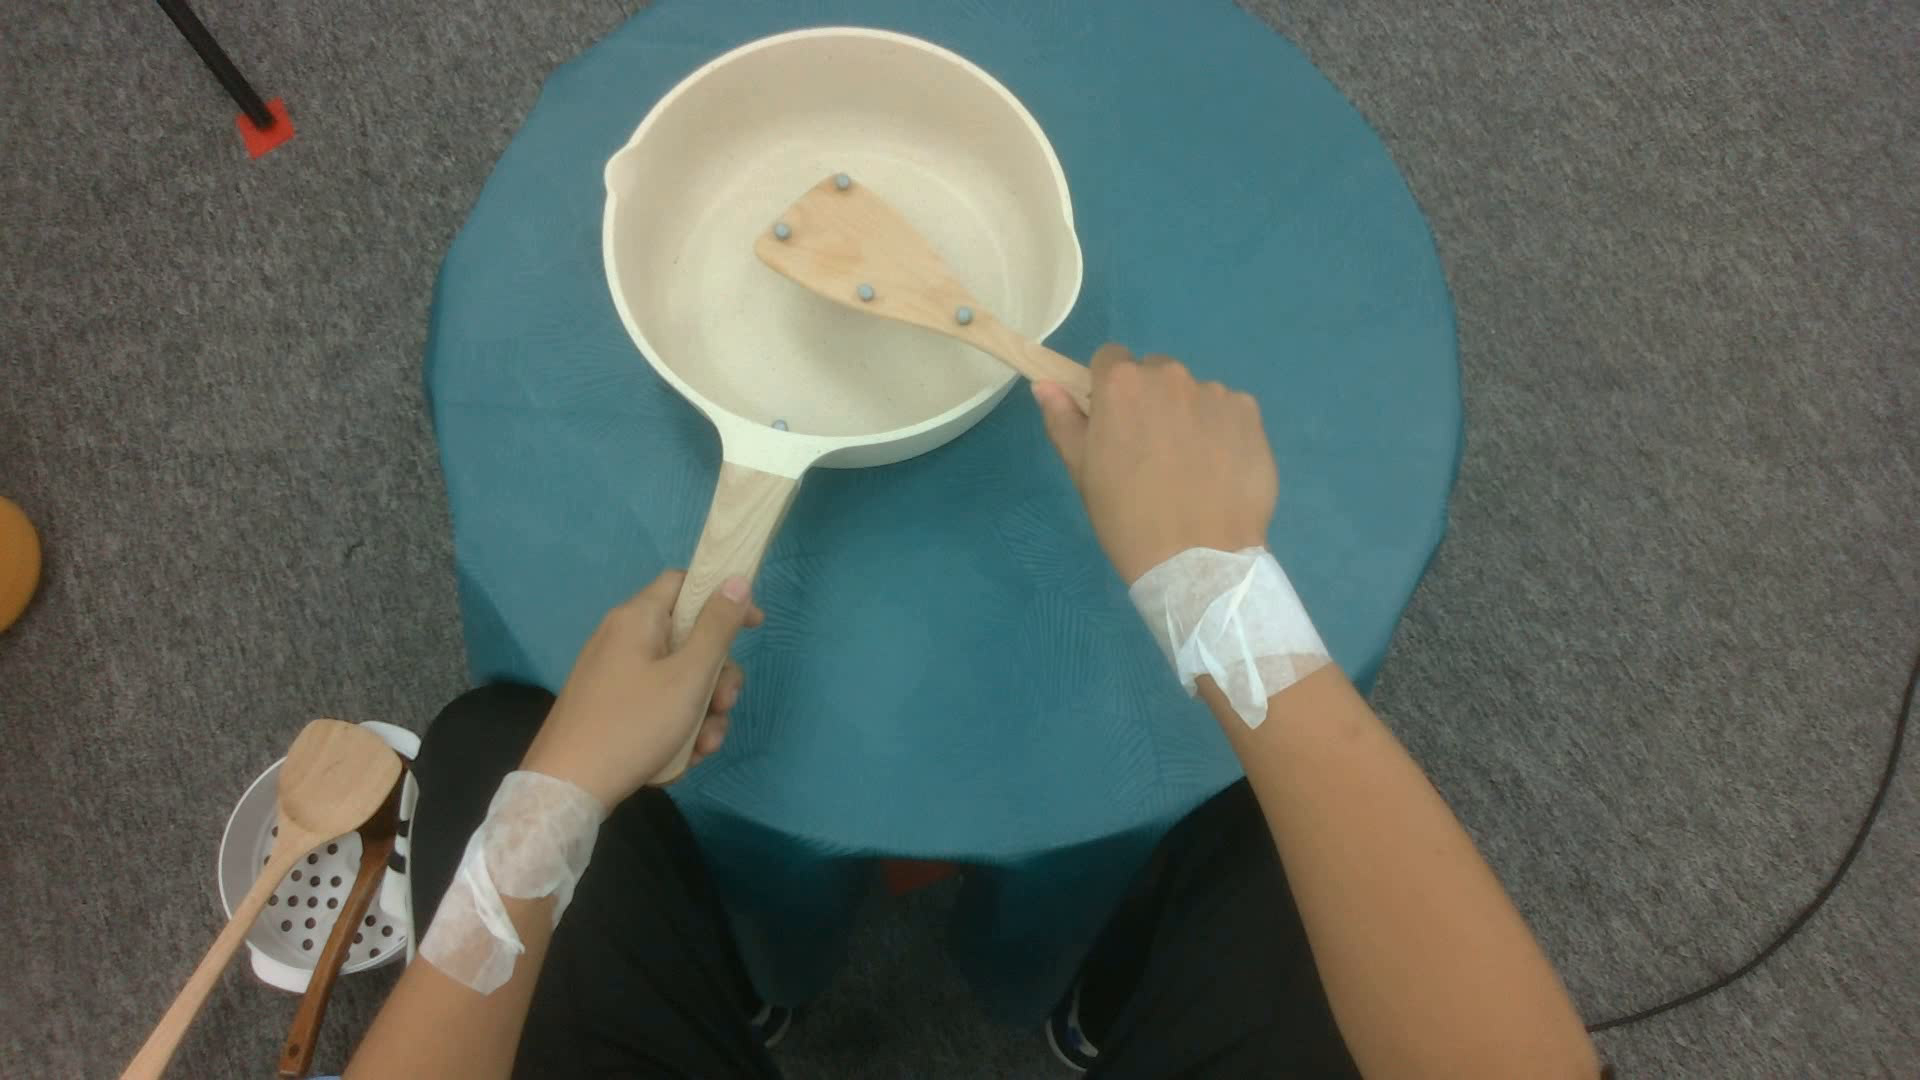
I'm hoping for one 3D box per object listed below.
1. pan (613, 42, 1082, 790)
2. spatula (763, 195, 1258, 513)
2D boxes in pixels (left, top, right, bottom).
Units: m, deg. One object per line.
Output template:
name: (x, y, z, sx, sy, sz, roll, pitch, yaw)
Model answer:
pan: (-0.086, -0.072, 0.754, 0.263, 0.101, 0.436, 15, 72, 2)
spatula: (0.018, -0.098, 0.703, 0.080, 0.016, 0.328, -39, 53, -22)
